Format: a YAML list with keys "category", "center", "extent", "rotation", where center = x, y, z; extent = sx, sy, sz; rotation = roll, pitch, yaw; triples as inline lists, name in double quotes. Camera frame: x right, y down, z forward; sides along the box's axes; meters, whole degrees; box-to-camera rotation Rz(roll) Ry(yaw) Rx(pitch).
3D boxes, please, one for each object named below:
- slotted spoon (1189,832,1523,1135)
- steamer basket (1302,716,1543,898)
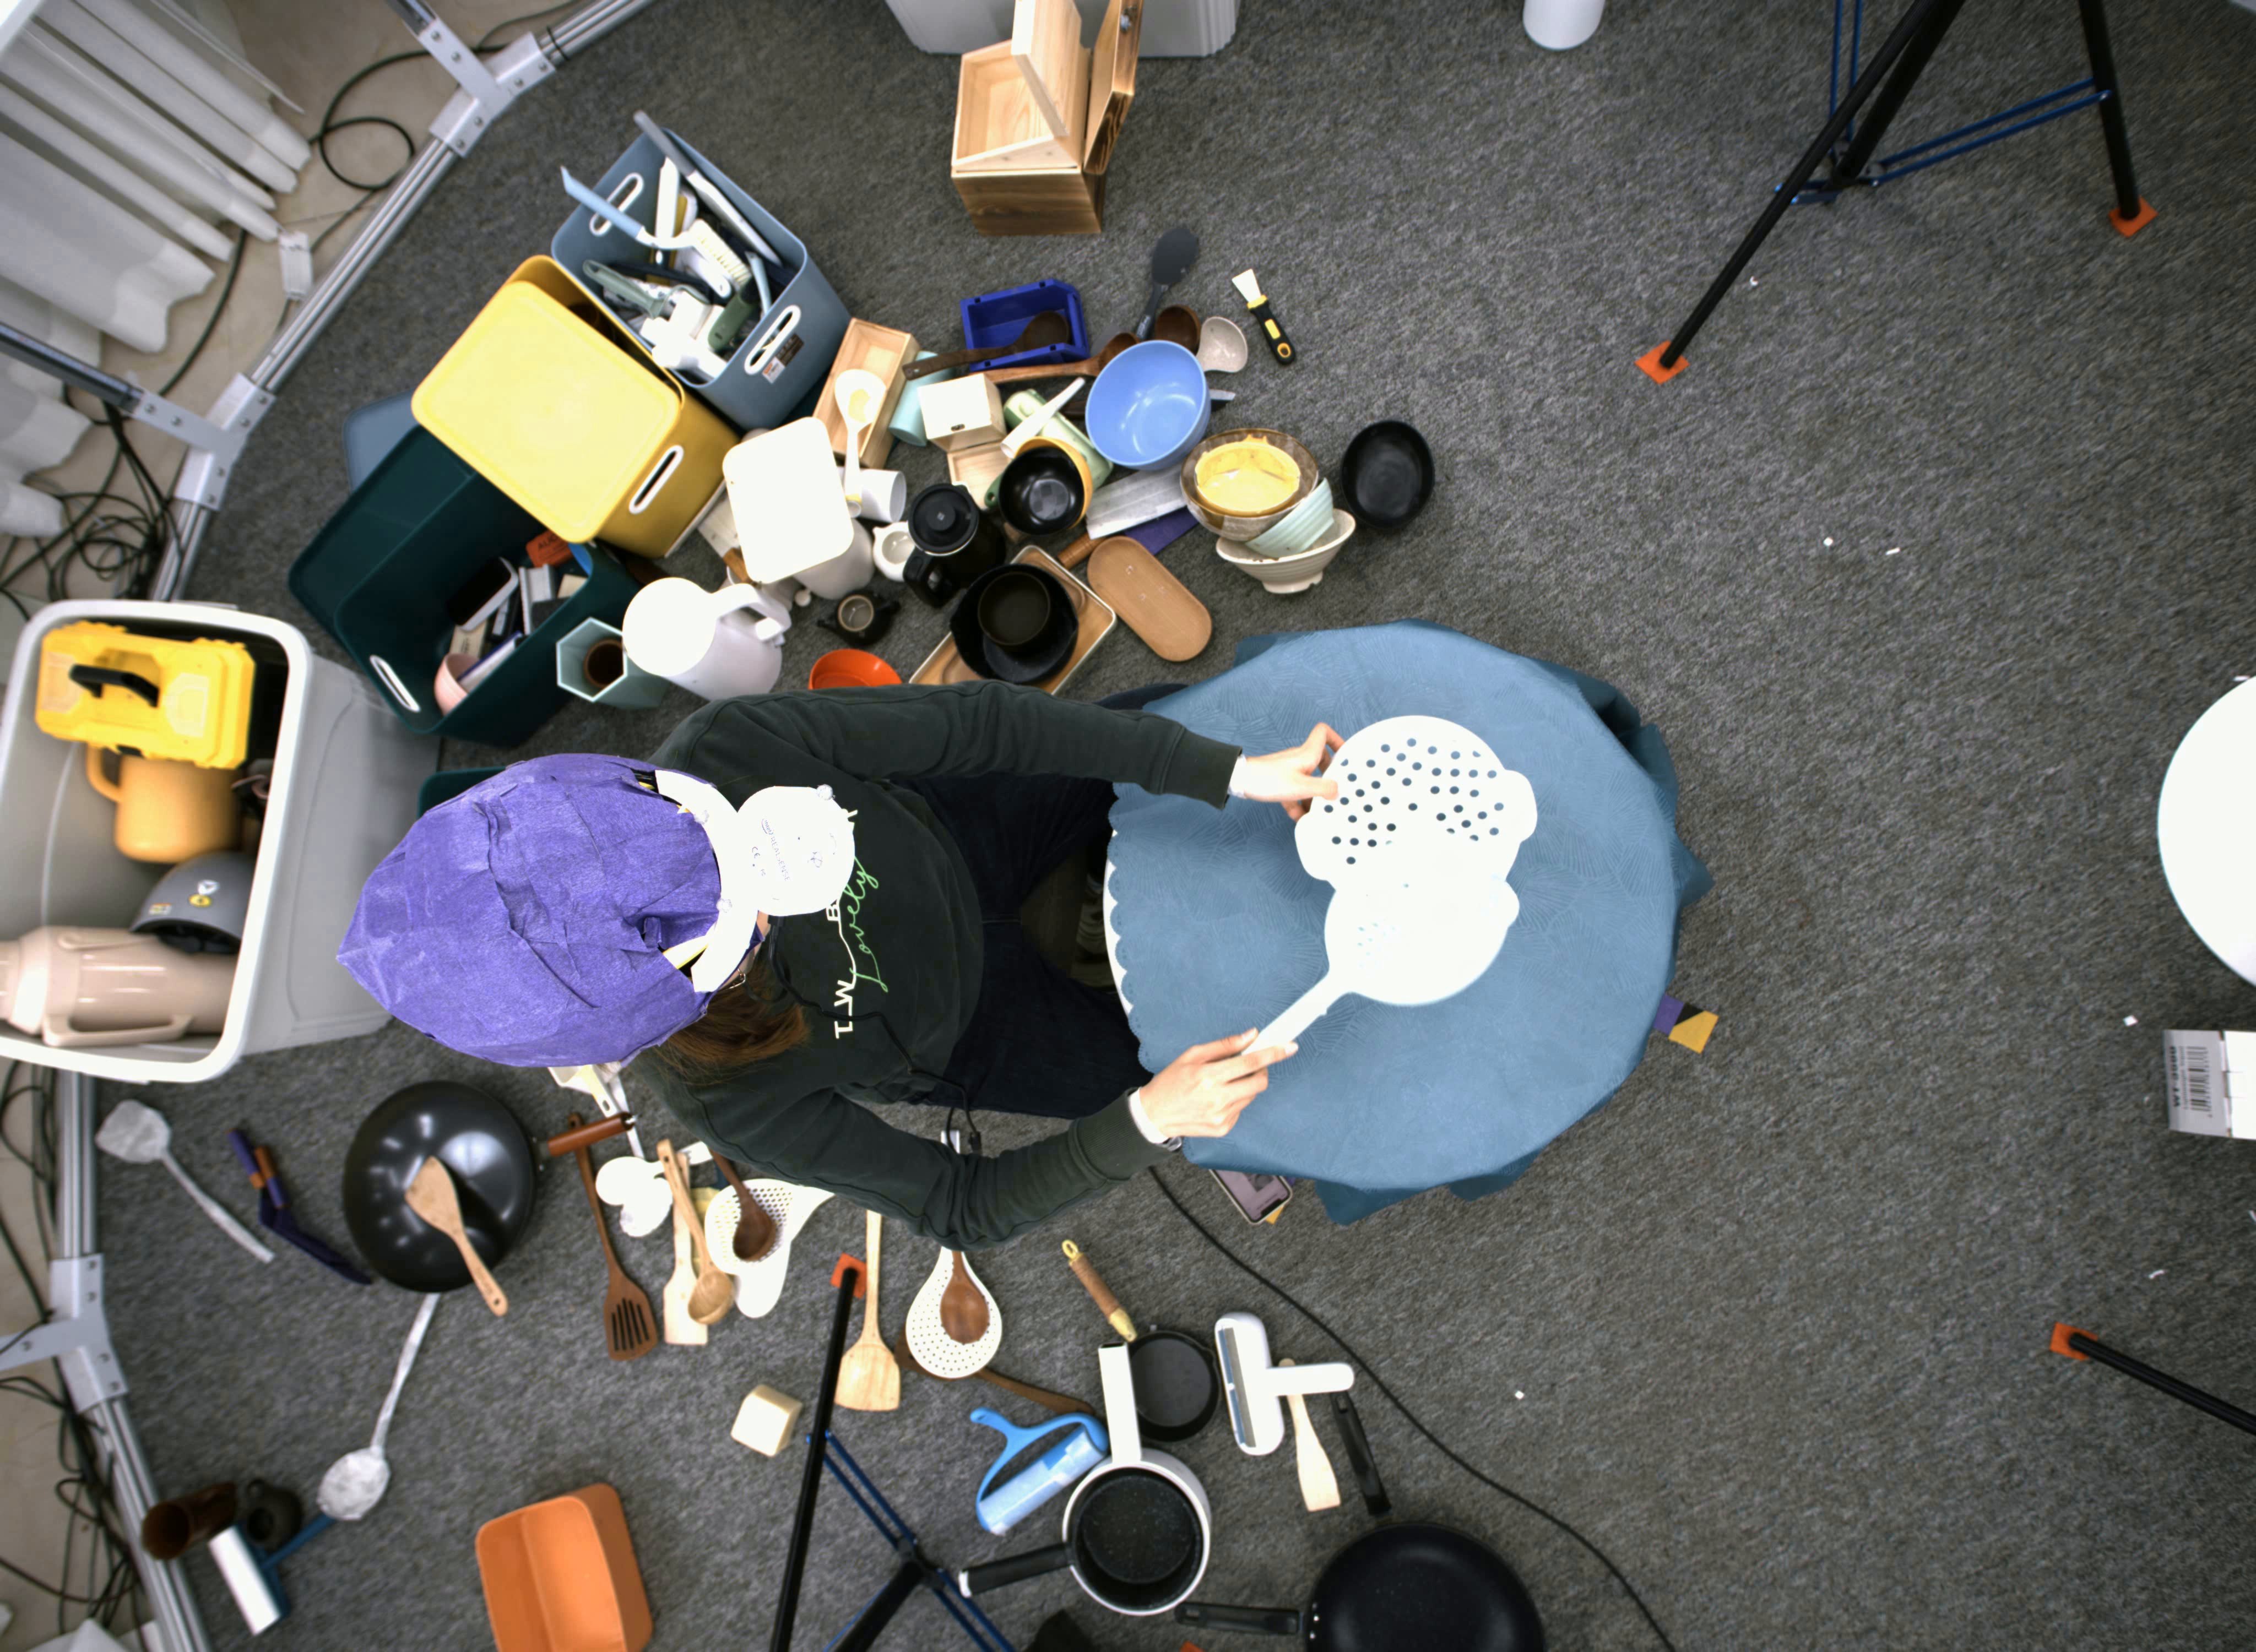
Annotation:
- category: "slotted spoon"
  center: [0.191, 0.151, 1.235]
  extent: [0.359, 0.076, 0.166]
  rotation: [-35, 40, -1]
- category: "steamer basket"
  center: [0.288, -0.011, 1.356]
  extent: [0.232, 0.068, 0.204]
  rotation: [-13, 107, 15]
